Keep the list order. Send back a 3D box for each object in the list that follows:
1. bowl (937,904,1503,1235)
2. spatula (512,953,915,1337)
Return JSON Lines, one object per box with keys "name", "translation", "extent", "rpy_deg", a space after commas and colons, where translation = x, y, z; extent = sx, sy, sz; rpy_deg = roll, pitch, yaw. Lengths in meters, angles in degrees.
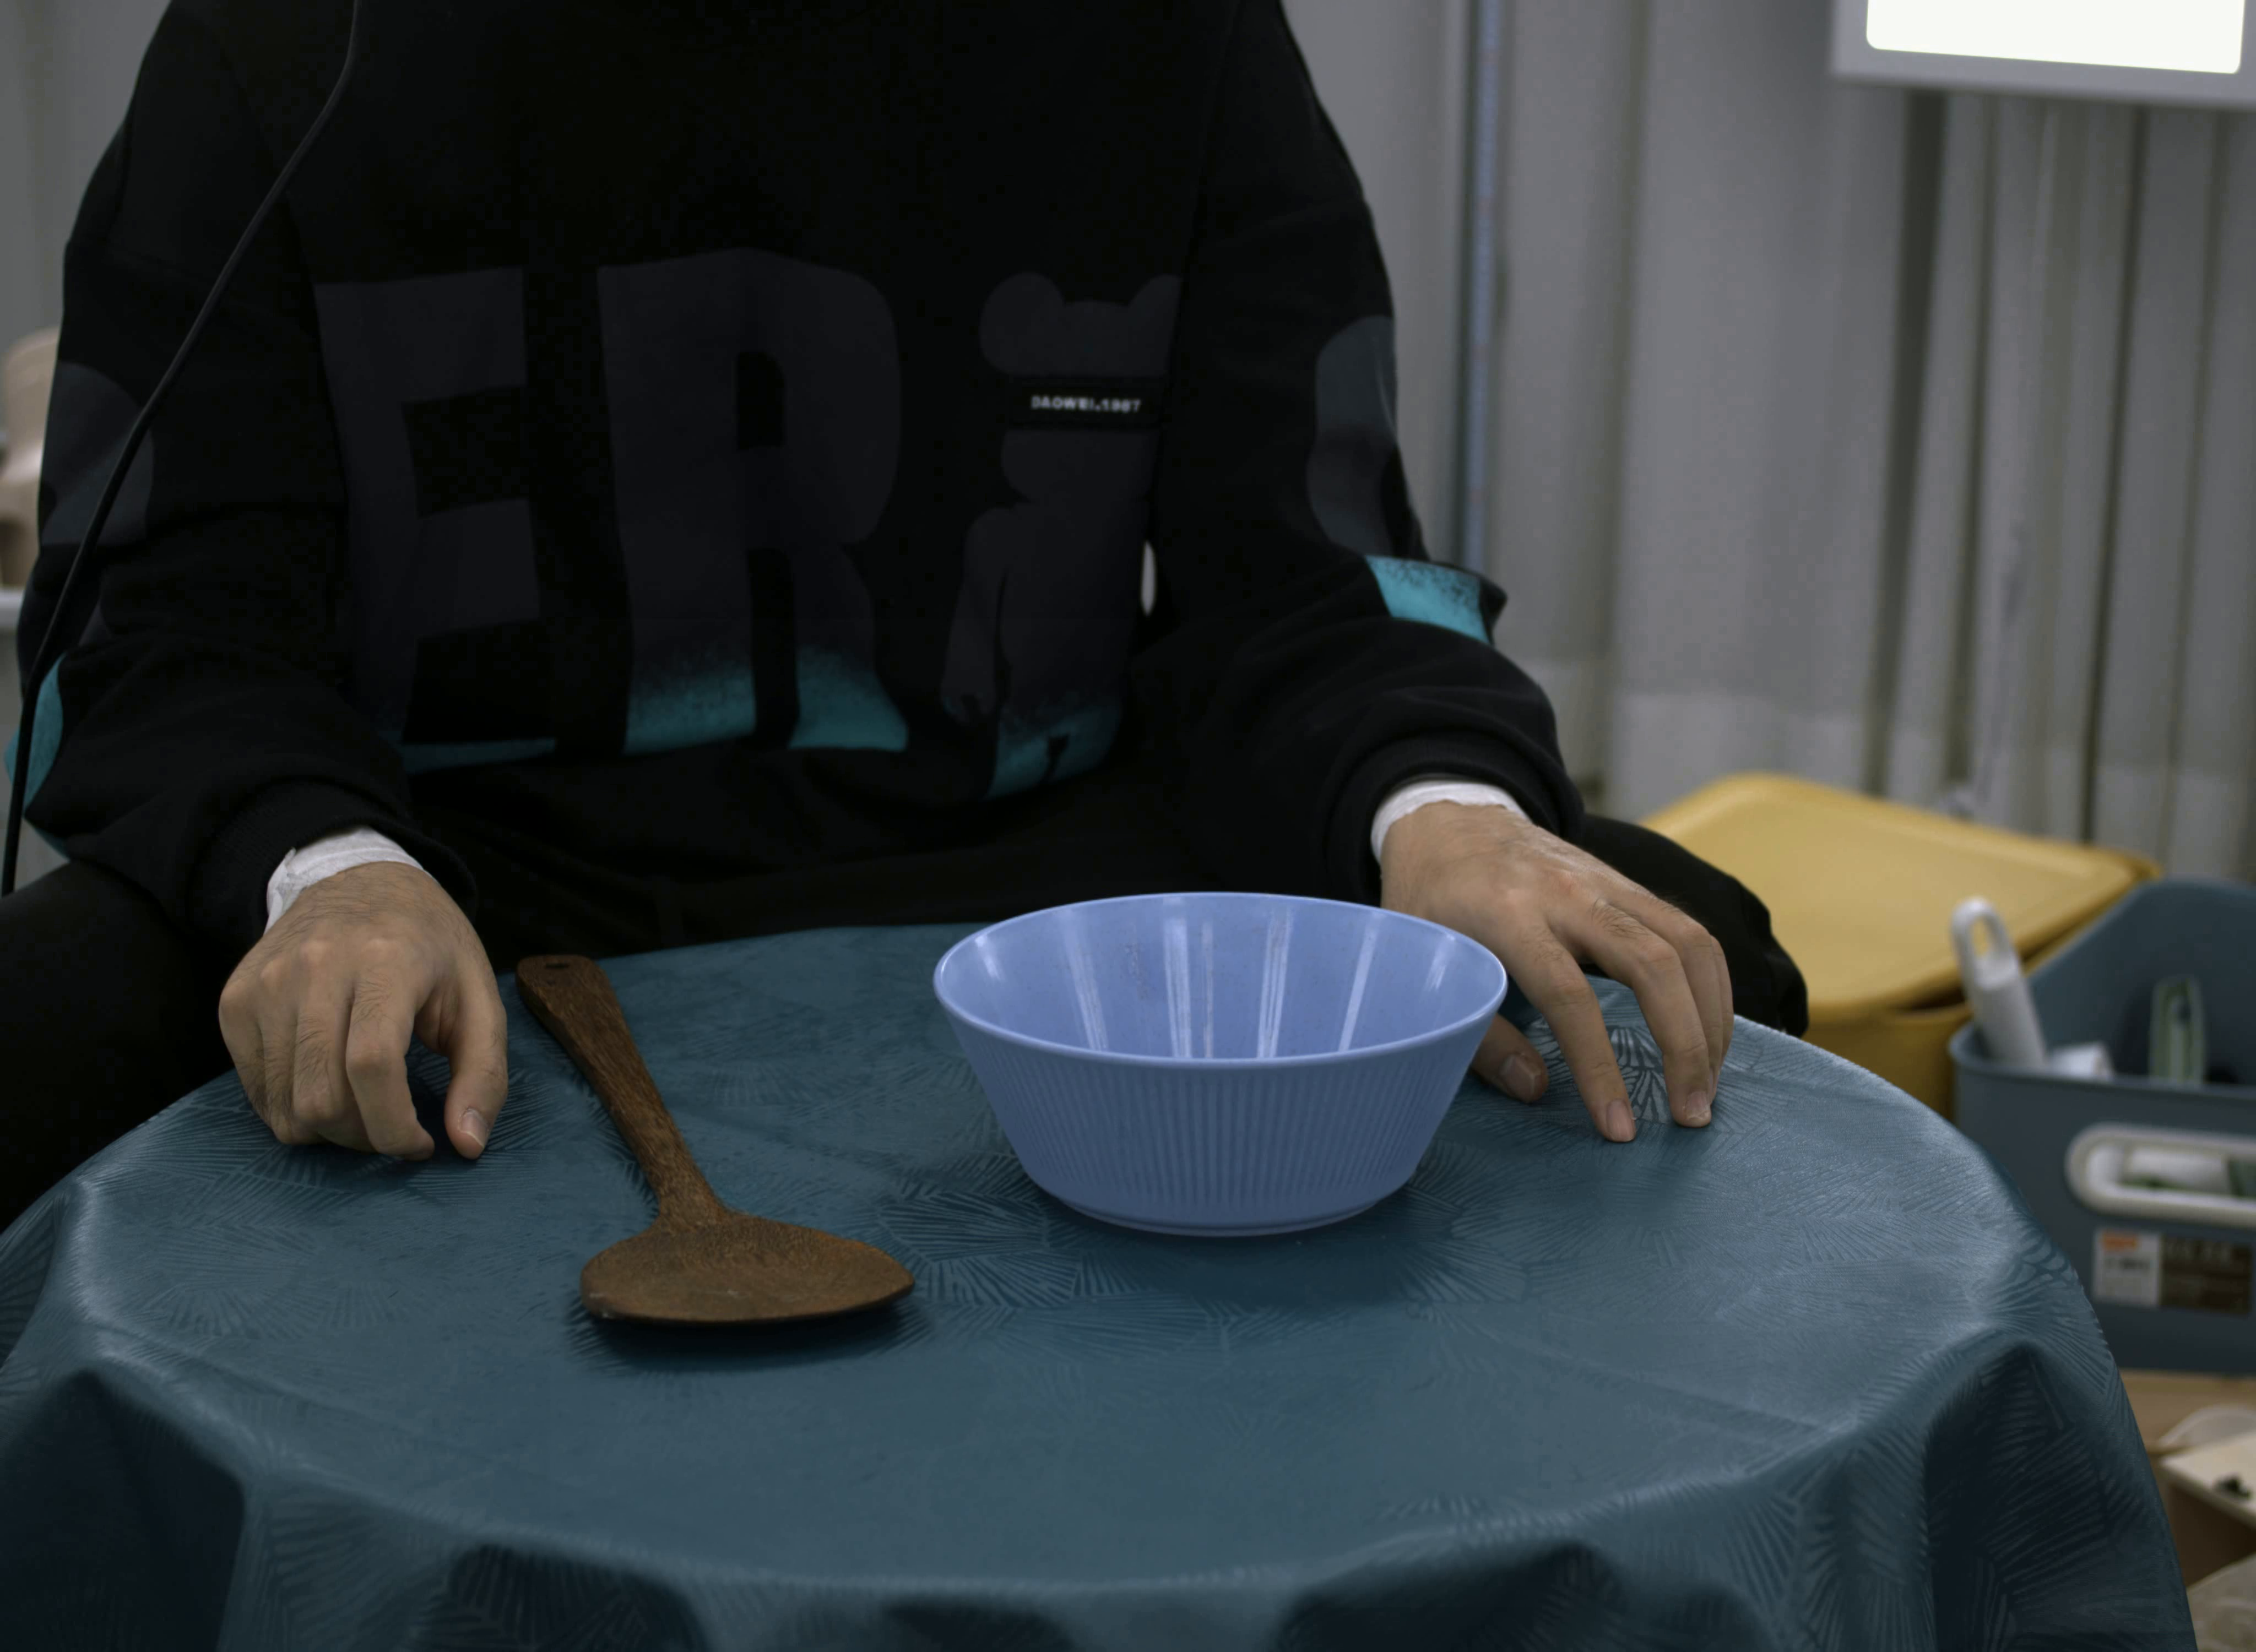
{"name": "bowl", "translation": [0.028, 0.077, 1.626], "extent": [0.175, 0.071, 0.175], "rpy_deg": [1, 14, 0]}
{"name": "spatula", "translation": [-0.152, 0.094, 1.660], "extent": [0.096, 0.016, 0.382], "rpy_deg": [-3, 16, -15]}
